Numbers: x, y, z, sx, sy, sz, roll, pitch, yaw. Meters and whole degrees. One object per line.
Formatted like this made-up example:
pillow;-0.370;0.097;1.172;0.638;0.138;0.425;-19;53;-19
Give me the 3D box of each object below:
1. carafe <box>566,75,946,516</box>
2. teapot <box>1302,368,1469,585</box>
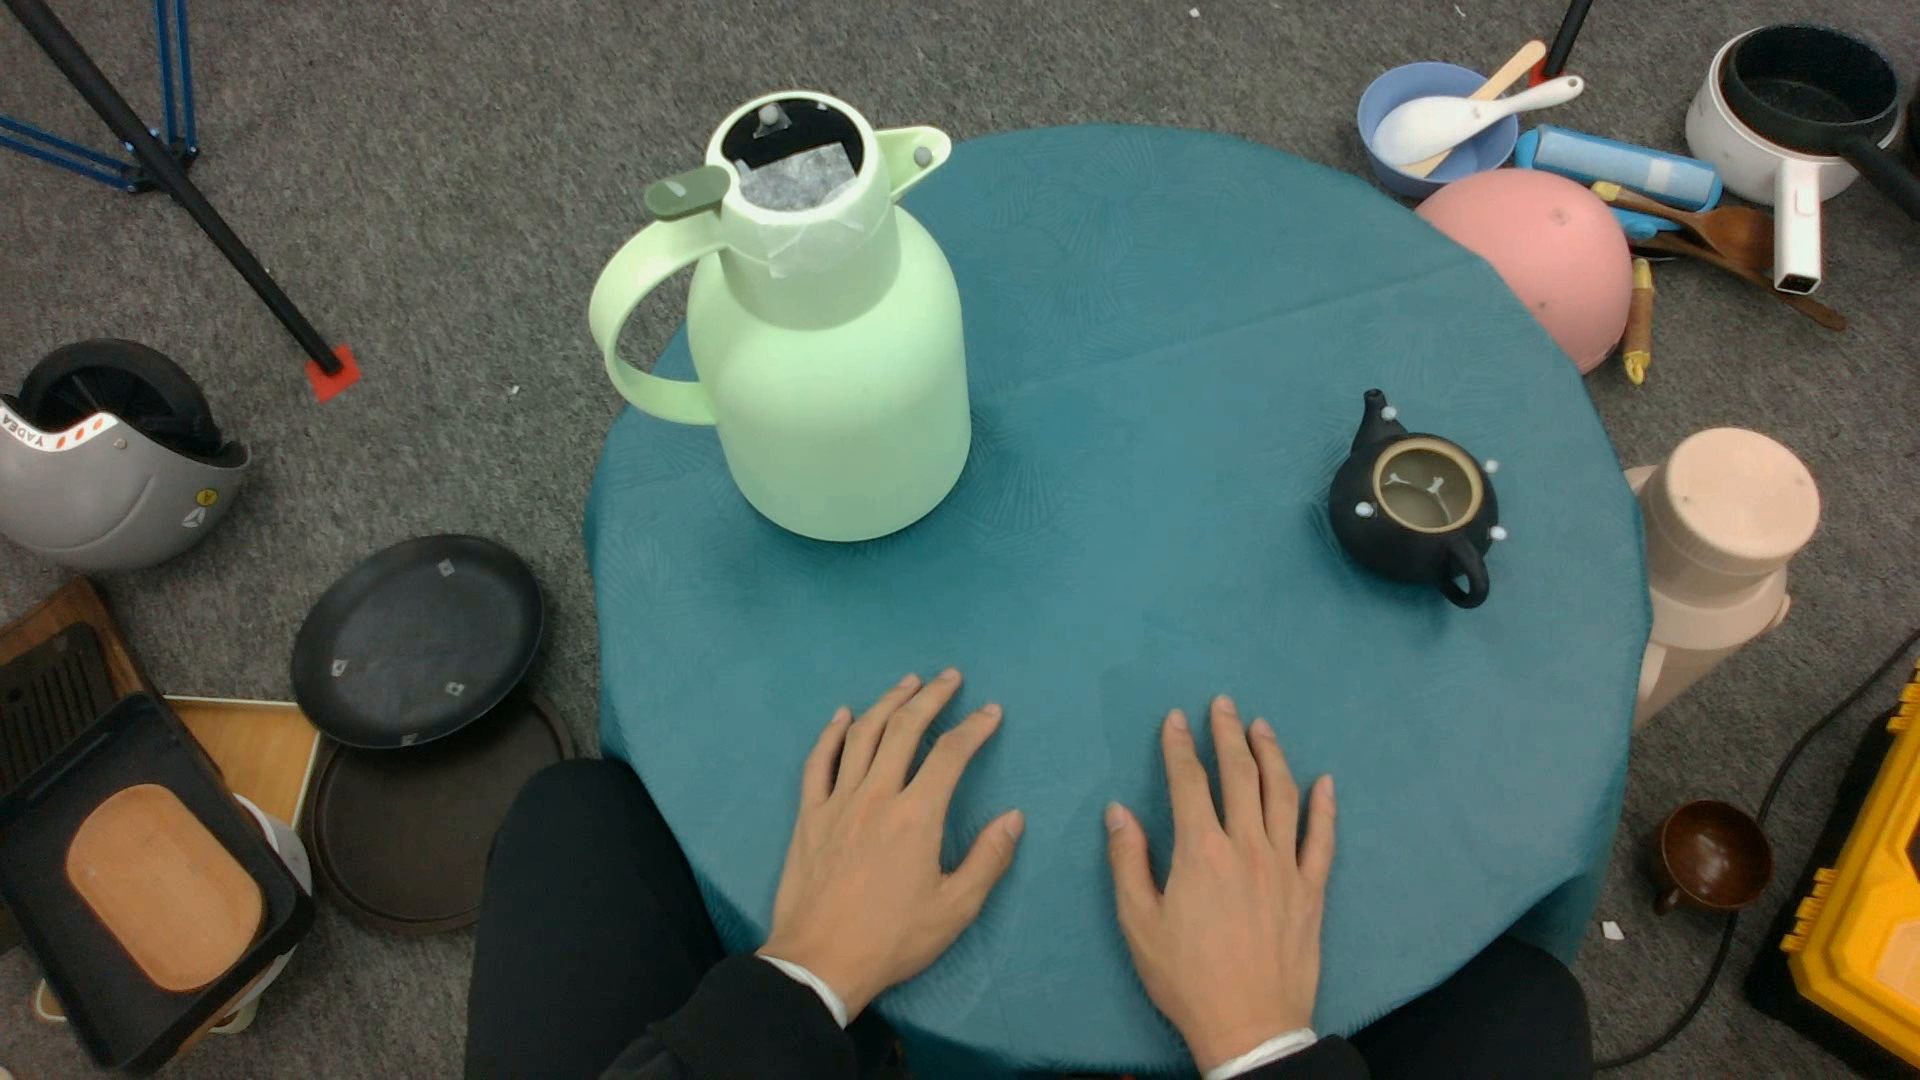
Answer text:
carafe;-0.096;-0.117;0.708;0.187;0.256;0.144;-25;68;-7
teapot;0.239;-0.031;0.771;0.091;0.053;0.133;-20;66;-6
